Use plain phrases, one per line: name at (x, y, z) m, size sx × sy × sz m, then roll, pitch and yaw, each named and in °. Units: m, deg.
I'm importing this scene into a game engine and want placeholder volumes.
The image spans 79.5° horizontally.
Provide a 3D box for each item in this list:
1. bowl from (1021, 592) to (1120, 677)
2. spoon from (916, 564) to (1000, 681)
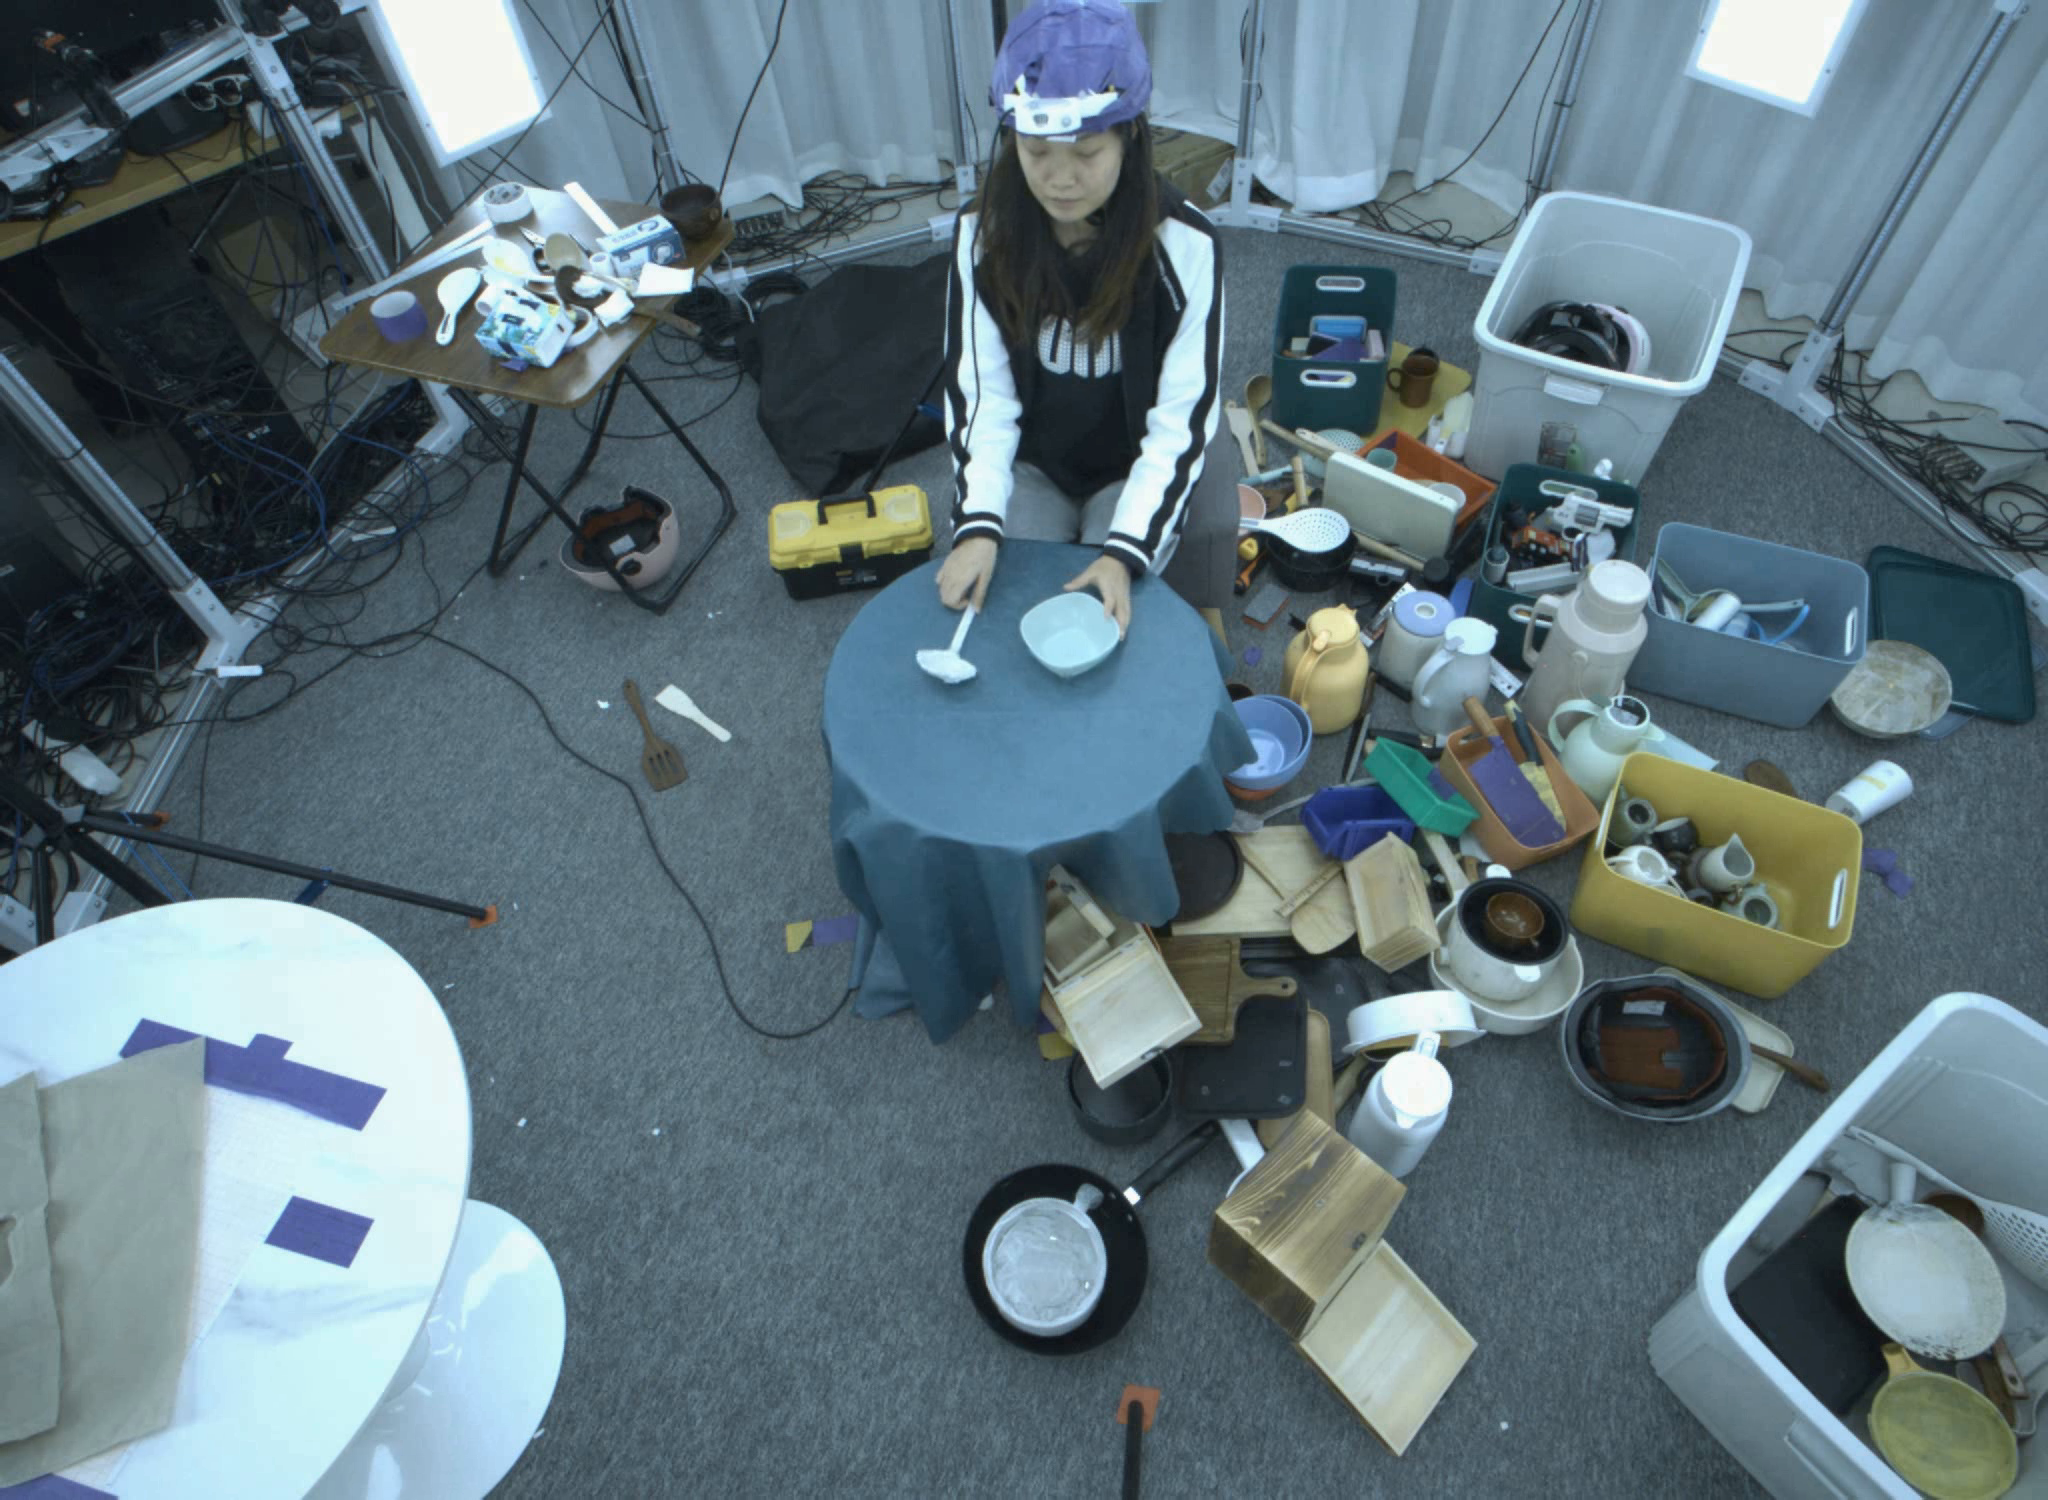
bowl at (0.071, -0.165, 1.870) m, size 0.151 × 0.059 × 0.150 m, roll 0°, pitch 55°, yaw 2°
spoon at (-0.082, -0.205, 1.900) m, size 0.101 × 0.059 × 0.277 m, roll 23°, pitch 58°, yaw 0°
